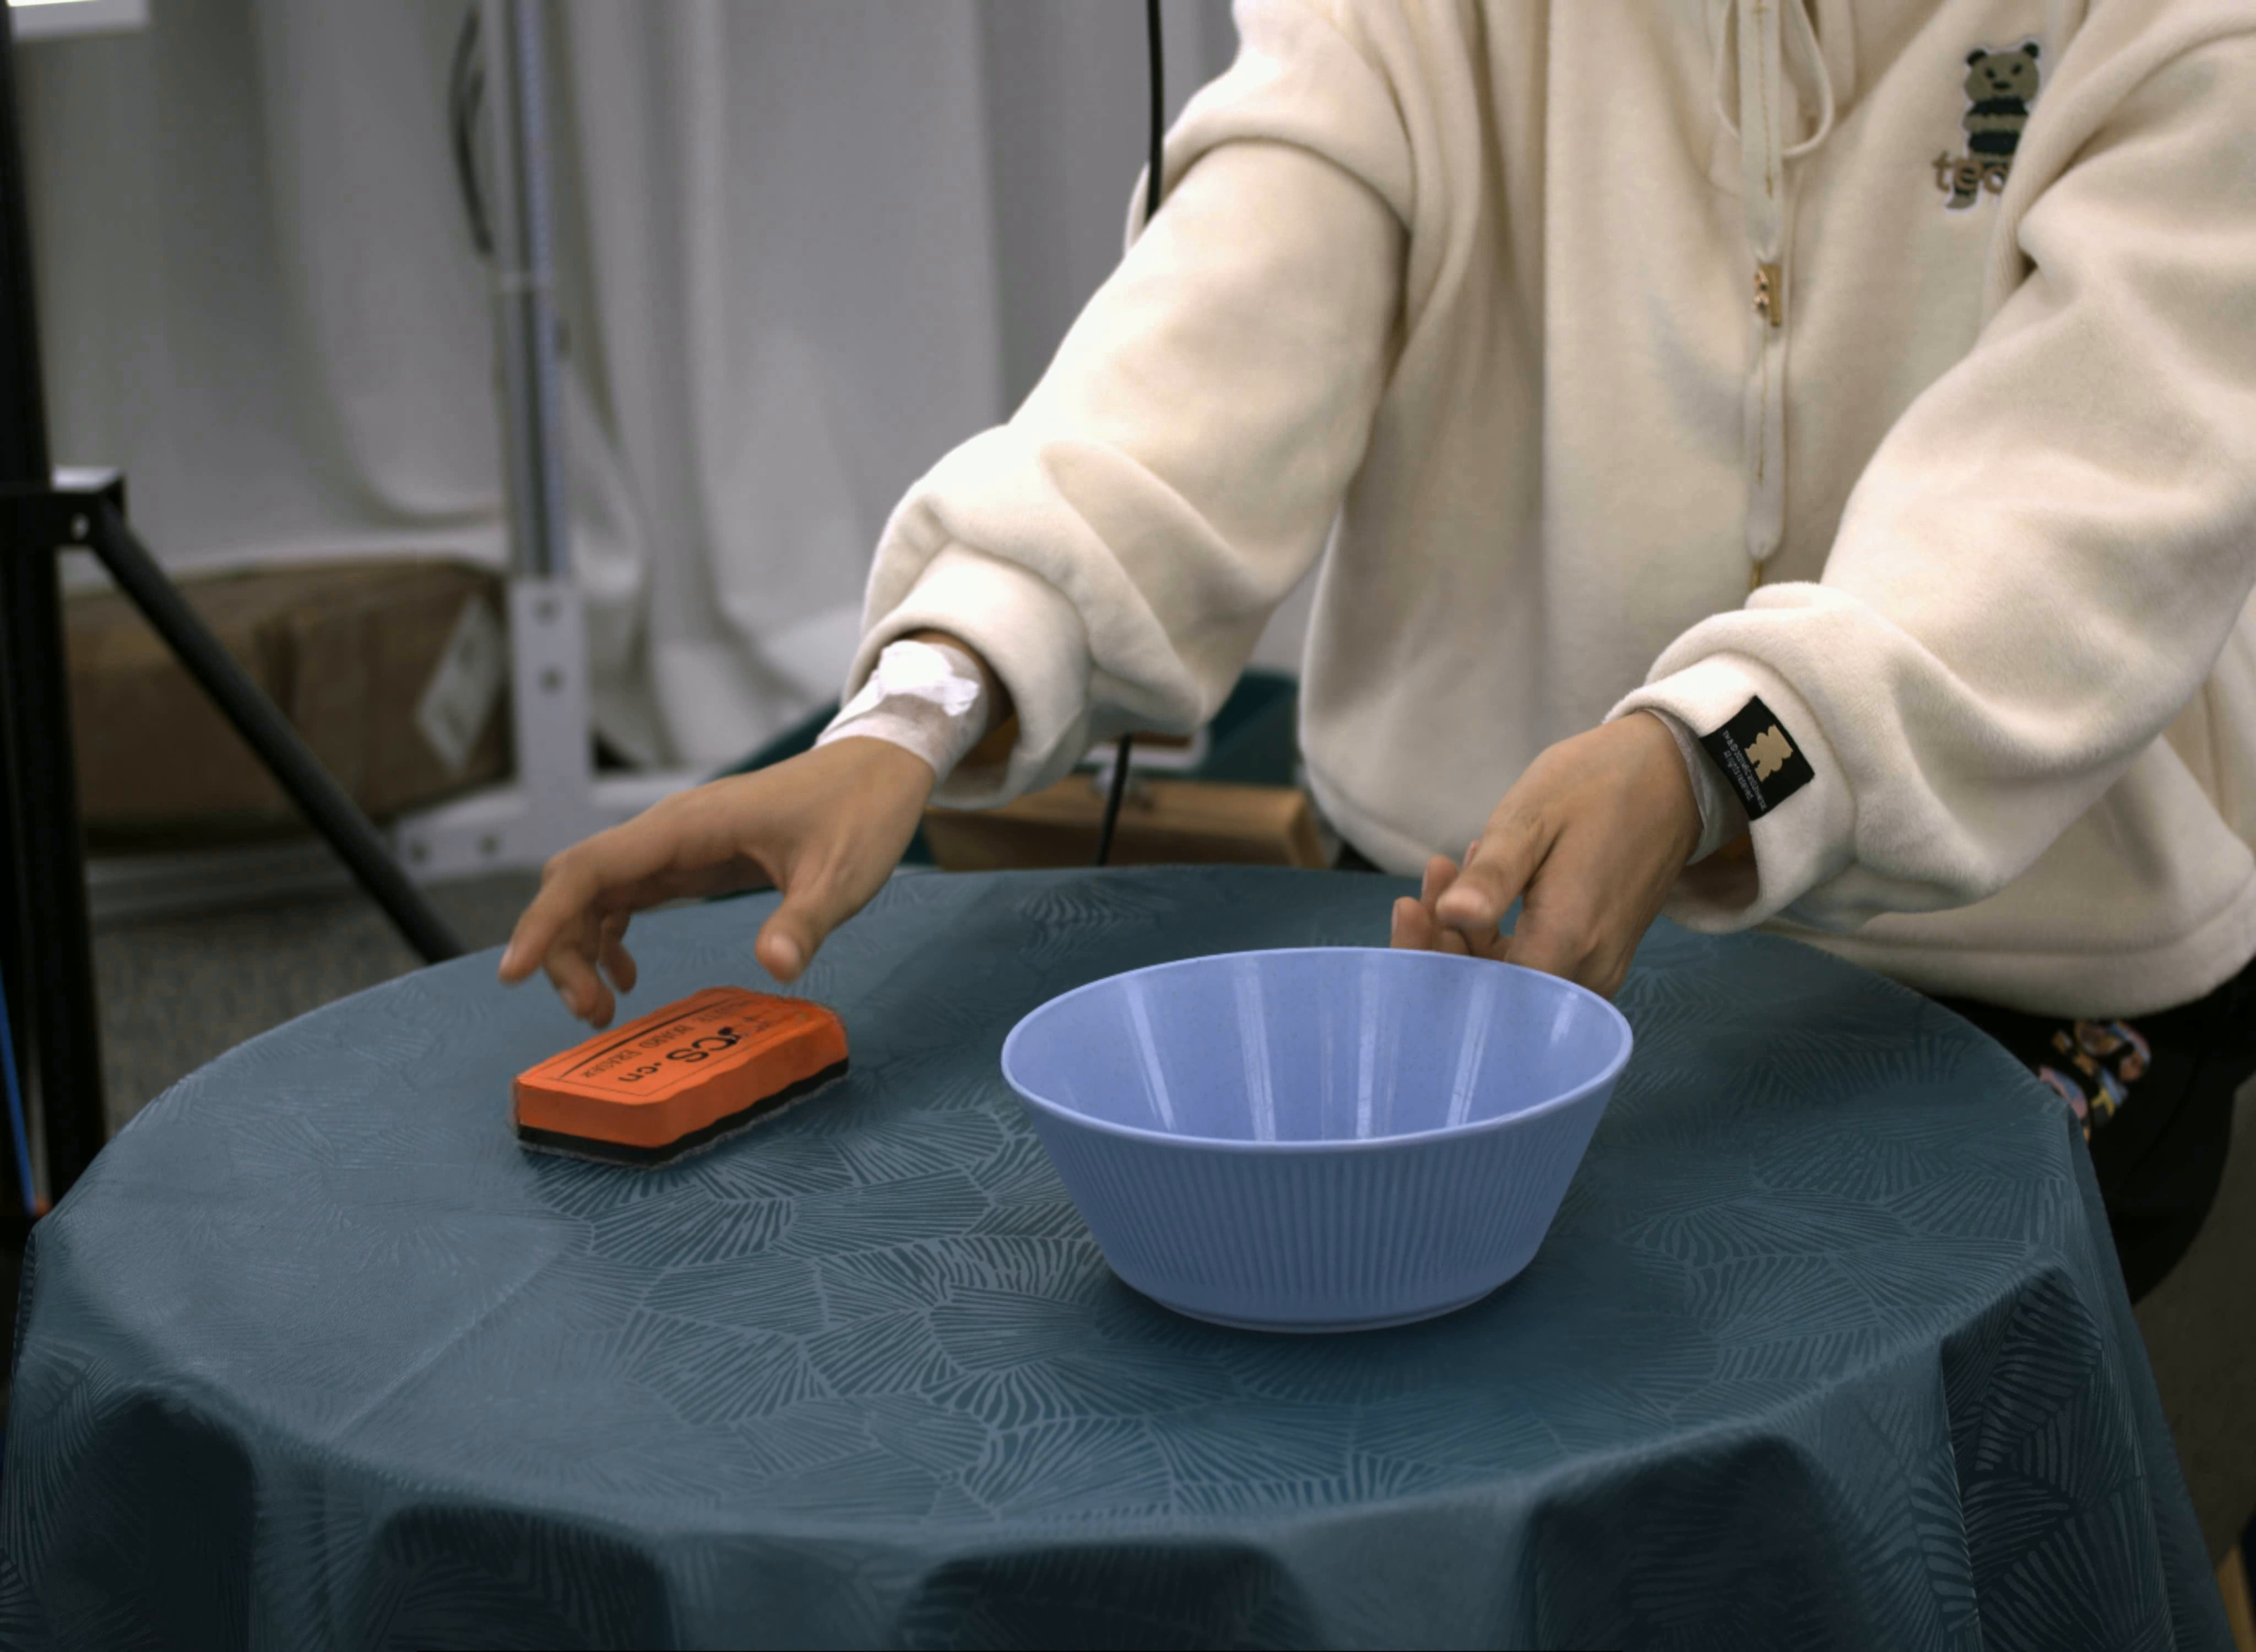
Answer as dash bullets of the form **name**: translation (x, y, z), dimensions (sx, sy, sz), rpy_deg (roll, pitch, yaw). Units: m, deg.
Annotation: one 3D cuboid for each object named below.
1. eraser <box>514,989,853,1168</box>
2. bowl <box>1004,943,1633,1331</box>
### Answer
- **eraser**: translation (-0.137, 0.077, 1.647), dimensions (0.060, 0.023, 0.106), rpy_deg (6, 18, 35)
- **bowl**: translation (0.054, 0.090, 1.482), dimensions (0.175, 0.070, 0.177), rpy_deg (-3, 16, -1)
